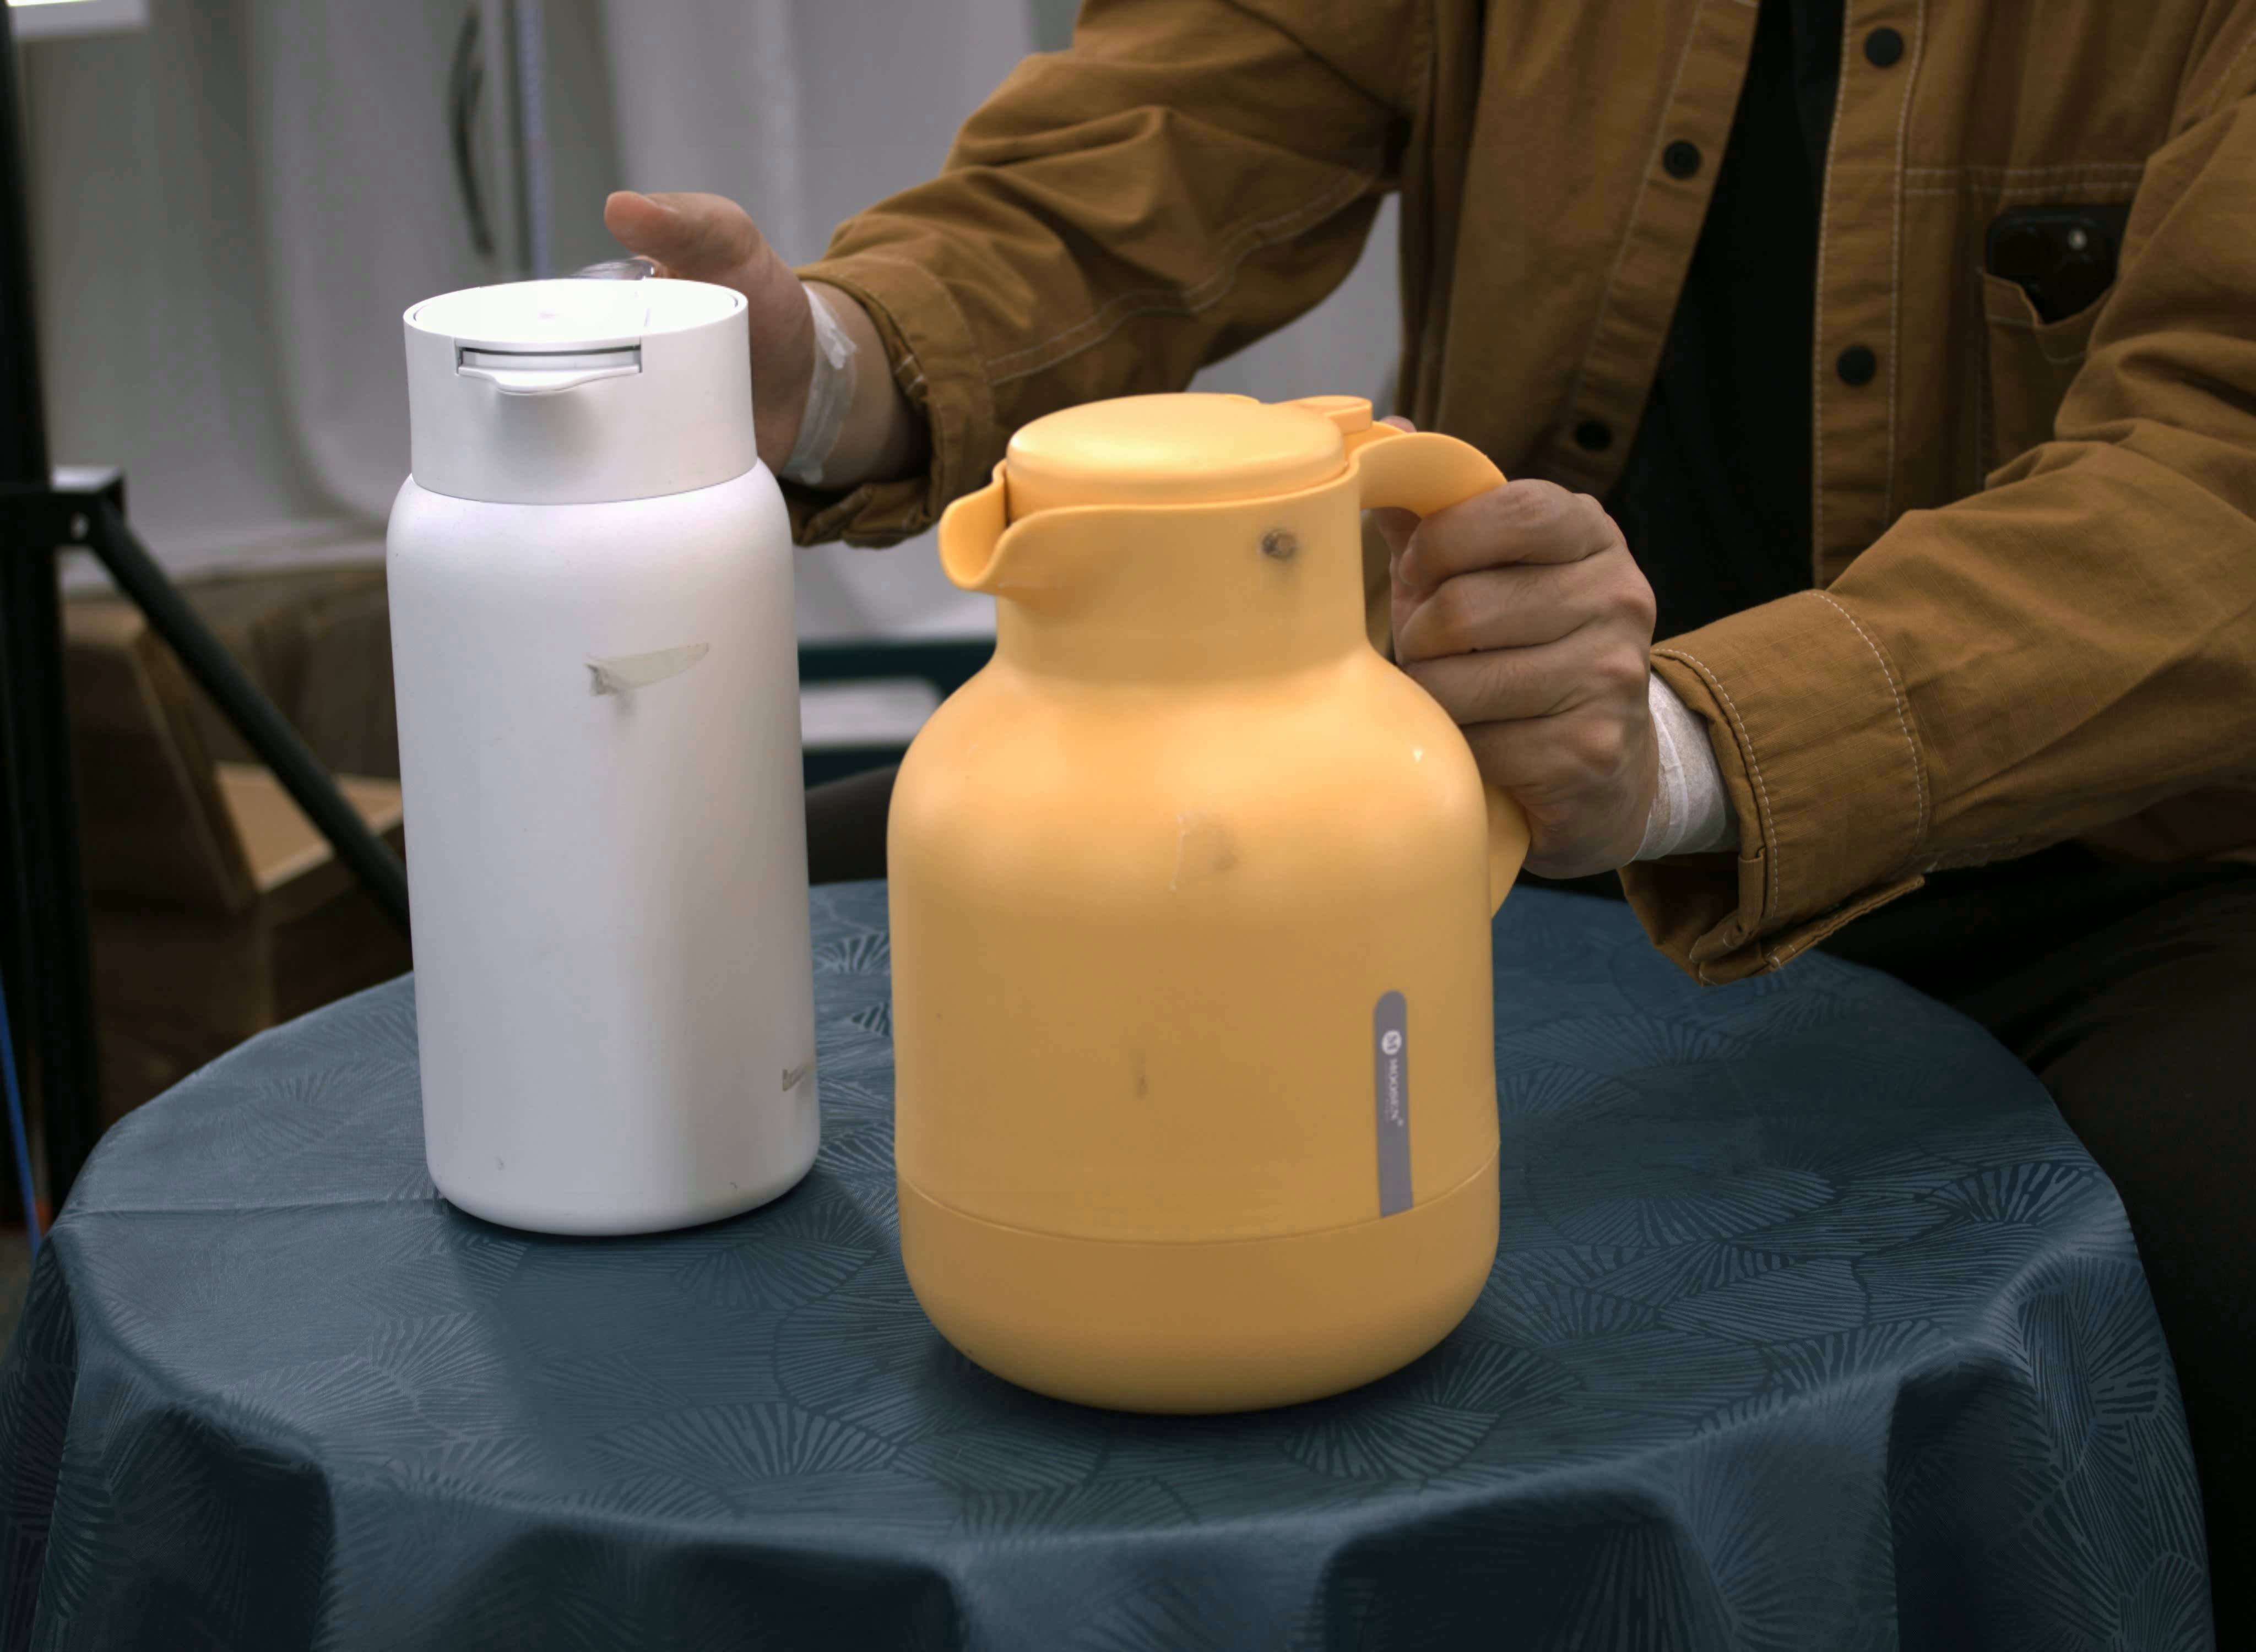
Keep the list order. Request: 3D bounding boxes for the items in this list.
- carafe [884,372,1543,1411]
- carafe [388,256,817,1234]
[{"bbox_3d":[0.032,0.010,1.414,0.198,0.260,0.167,-15,23,-35],"label":"carafe"},{"bbox_3d":[-0.153,-0.028,1.571,0.124,0.269,0.172,-2,15,7],"label":"carafe"}]
